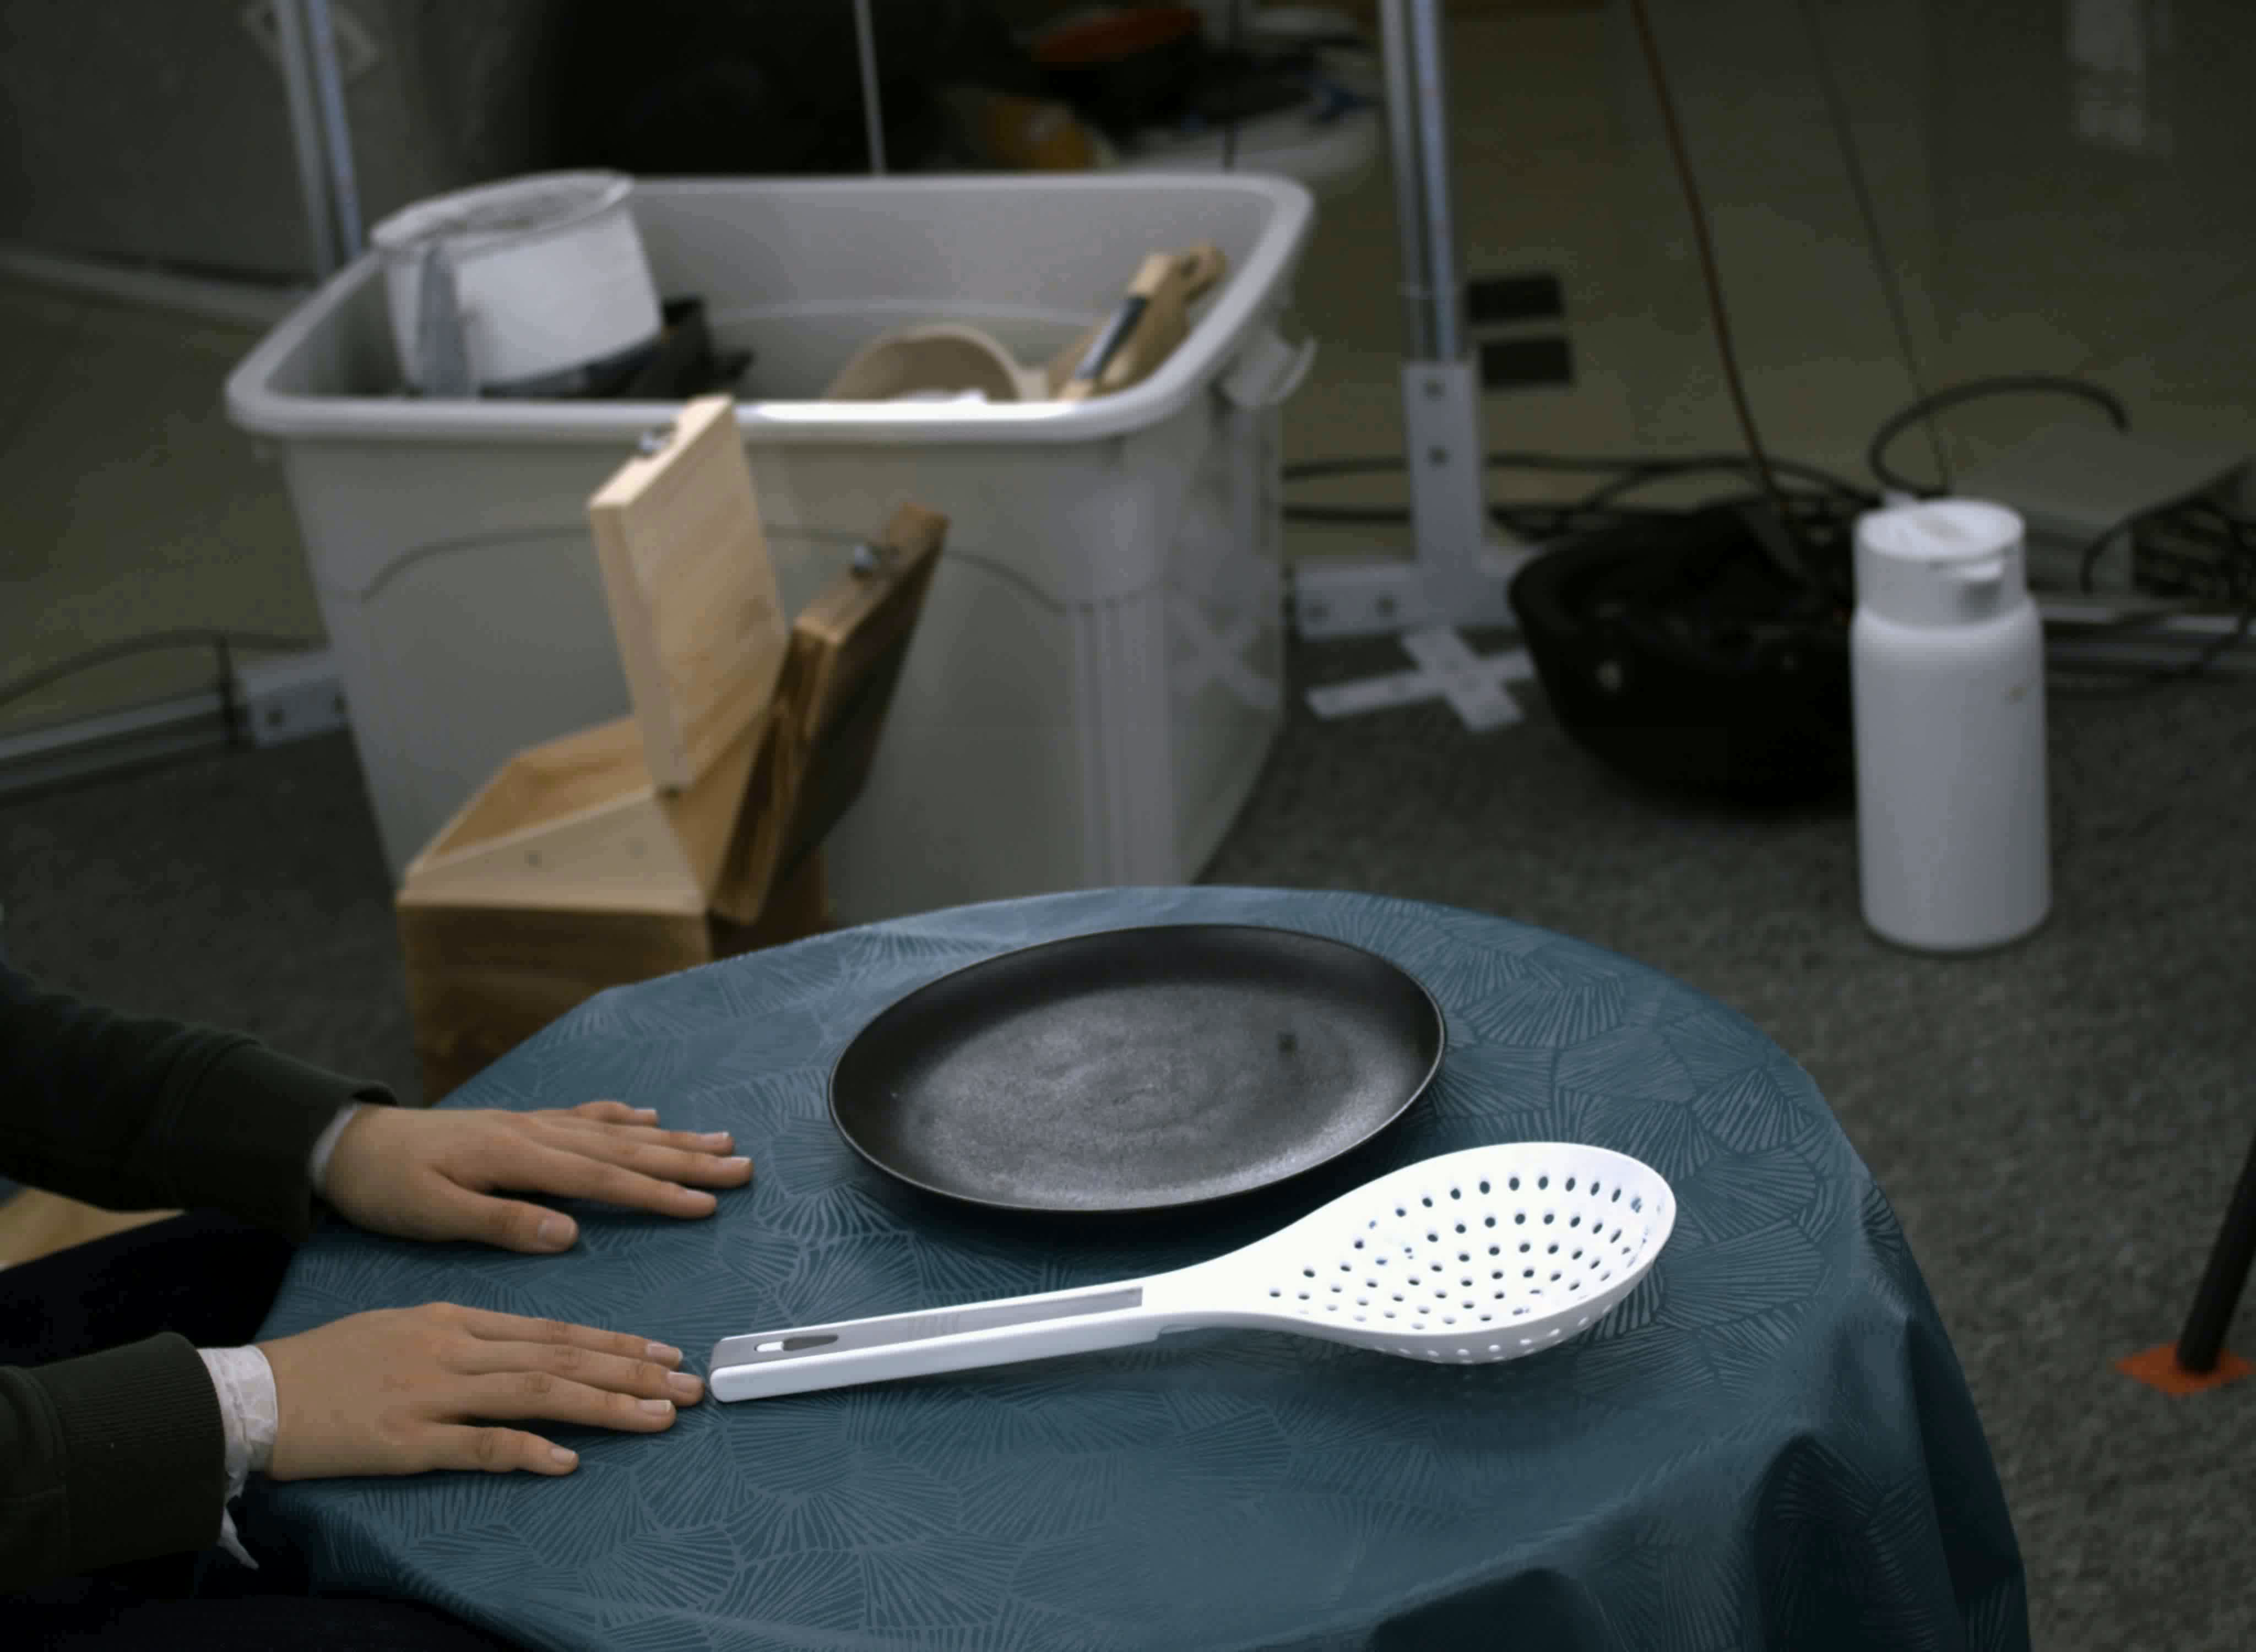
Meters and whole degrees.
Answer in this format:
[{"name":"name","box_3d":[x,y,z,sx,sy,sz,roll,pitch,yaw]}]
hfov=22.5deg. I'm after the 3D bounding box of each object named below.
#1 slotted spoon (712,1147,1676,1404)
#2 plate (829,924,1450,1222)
[{"name":"slotted spoon","box_3d":[0.022,0.170,2.026,0.349,0.046,0.134,-5,23,5]},{"name":"plate","box_3d":[0.005,0.101,2.206,0.244,0.024,0.241,-6,25,3]}]
